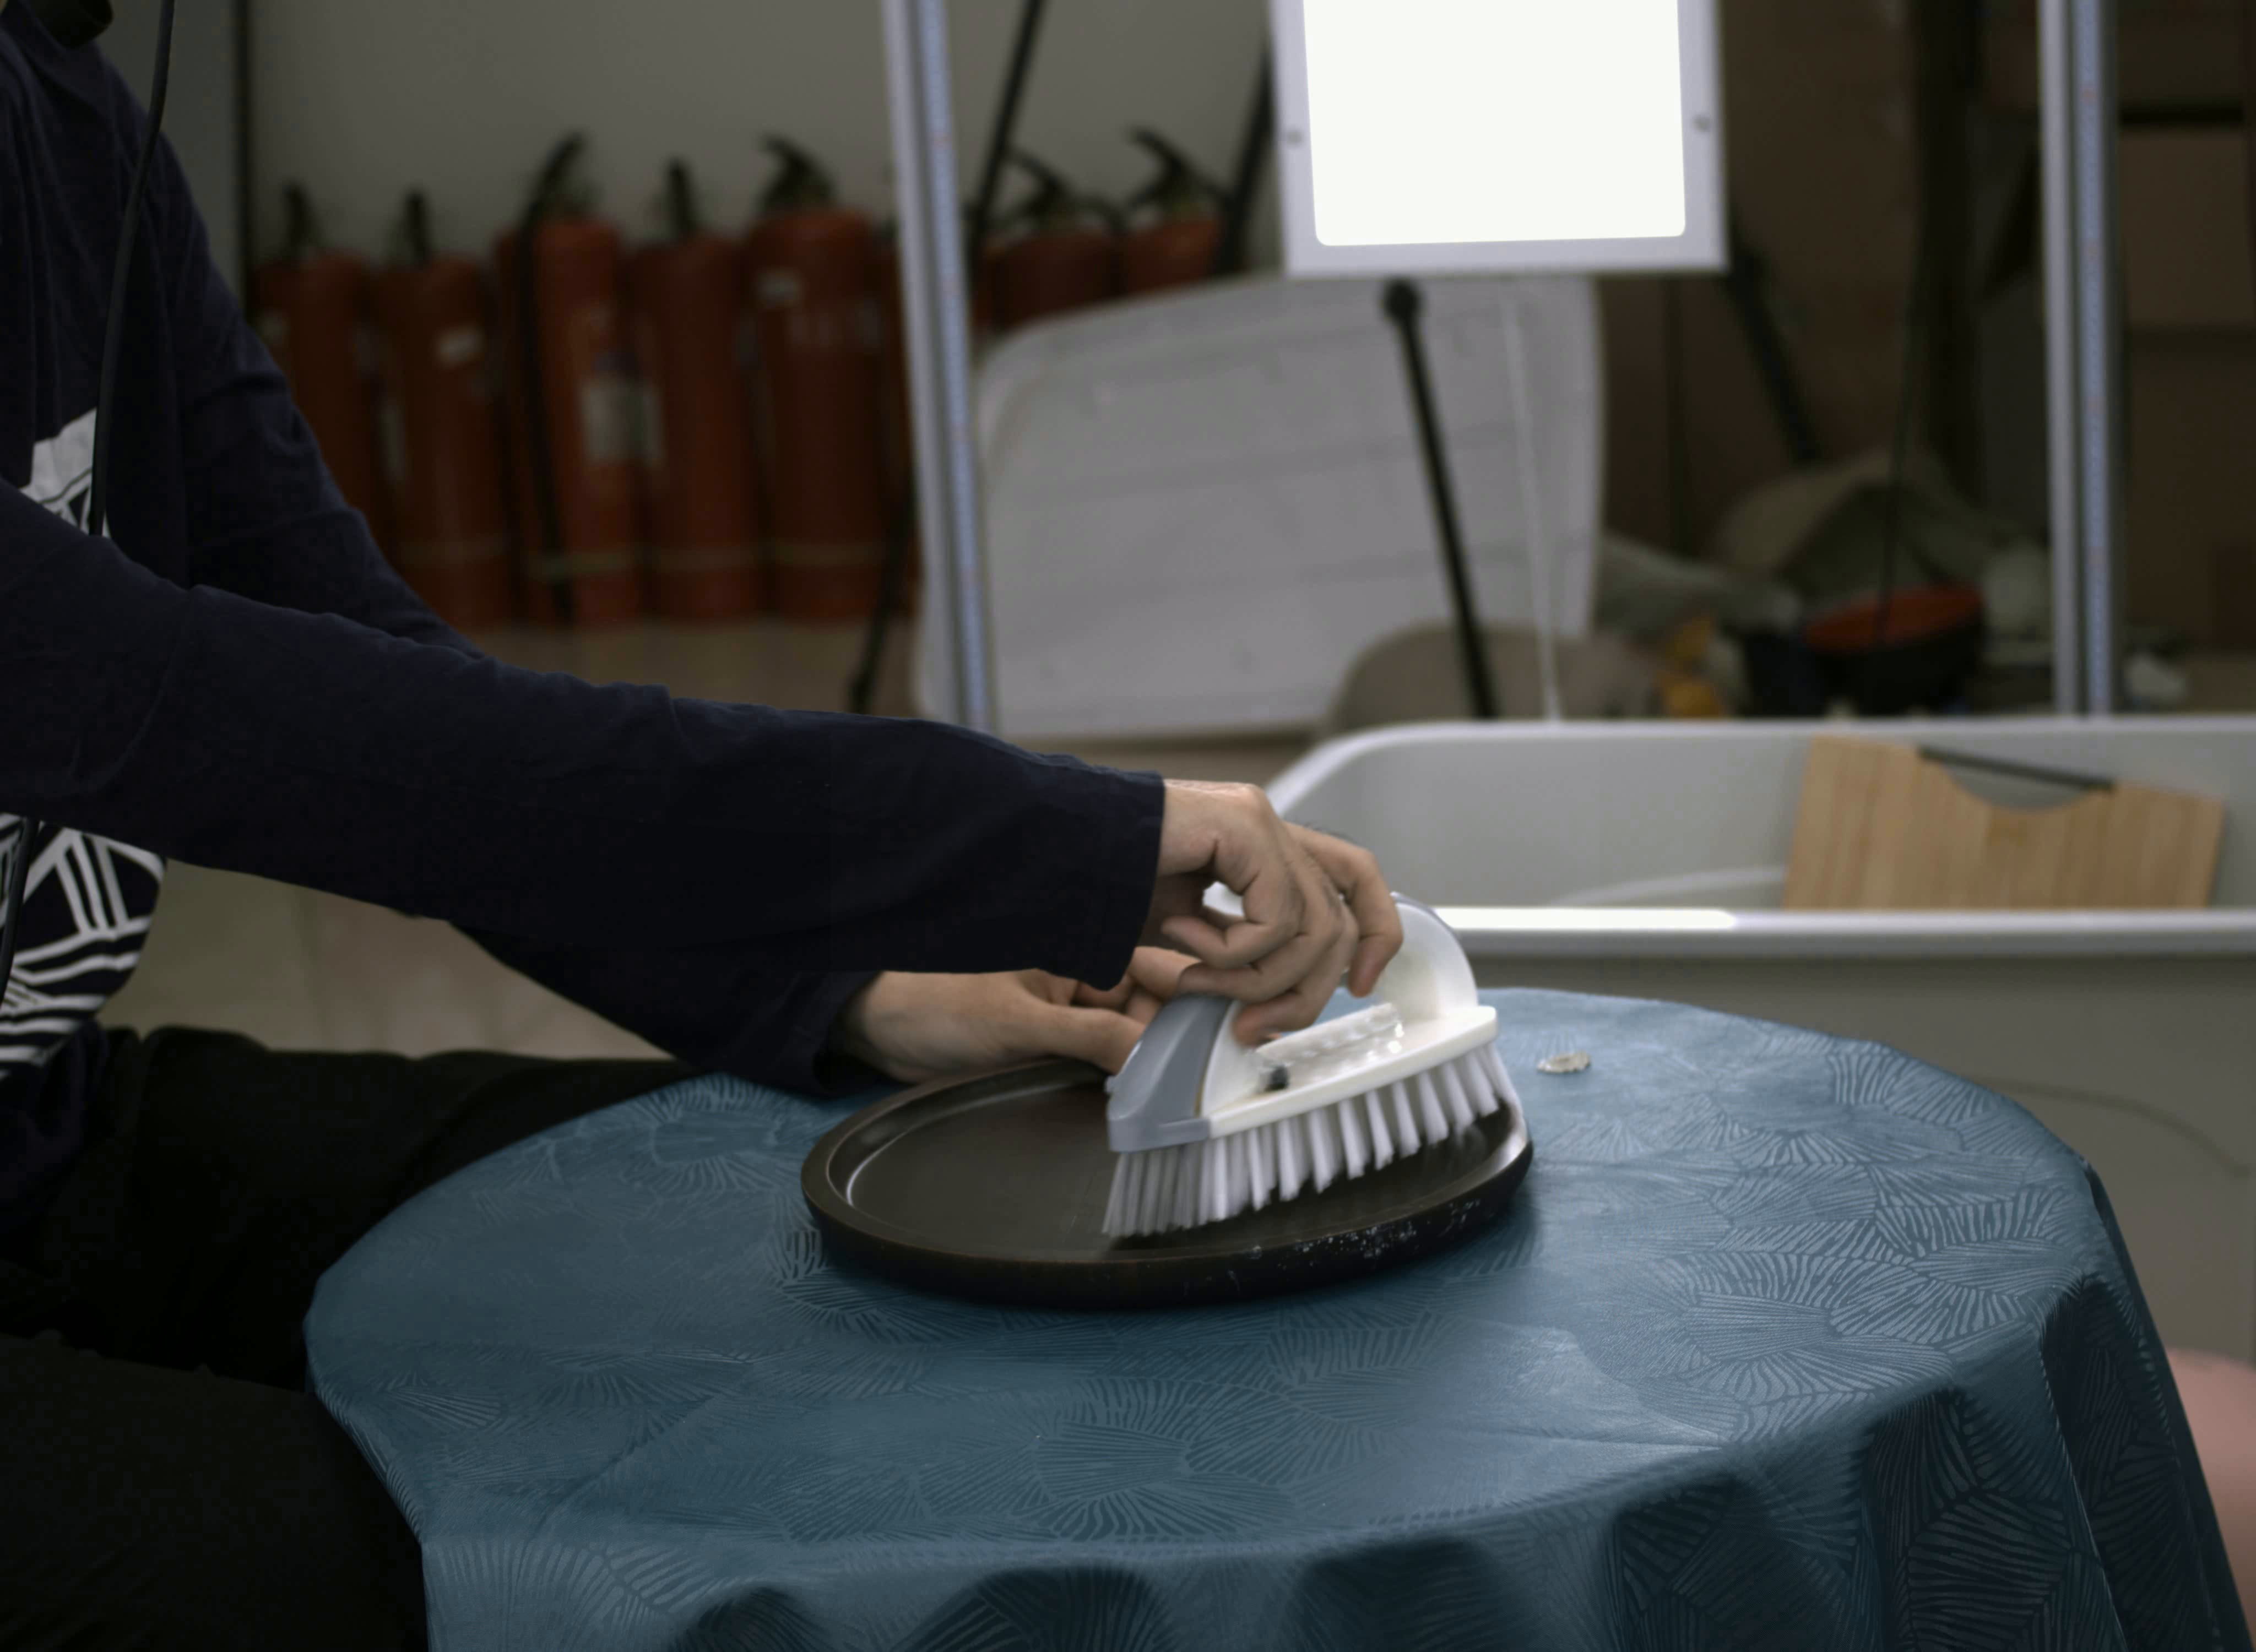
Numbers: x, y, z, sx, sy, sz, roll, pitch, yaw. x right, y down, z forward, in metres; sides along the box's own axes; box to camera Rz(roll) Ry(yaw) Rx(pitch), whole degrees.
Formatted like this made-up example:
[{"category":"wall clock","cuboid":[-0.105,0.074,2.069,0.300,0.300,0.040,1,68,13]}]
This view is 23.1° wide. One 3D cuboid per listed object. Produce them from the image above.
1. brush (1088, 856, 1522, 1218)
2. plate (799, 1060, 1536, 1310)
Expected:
[{"category":"brush","cuboid":[0.051,0.066,1.838,0.171,0.094,0.063,-20,17,-34]},{"category":"plate","cuboid":[0.014,0.118,1.880,0.254,0.029,0.254,-4,14,0]}]
